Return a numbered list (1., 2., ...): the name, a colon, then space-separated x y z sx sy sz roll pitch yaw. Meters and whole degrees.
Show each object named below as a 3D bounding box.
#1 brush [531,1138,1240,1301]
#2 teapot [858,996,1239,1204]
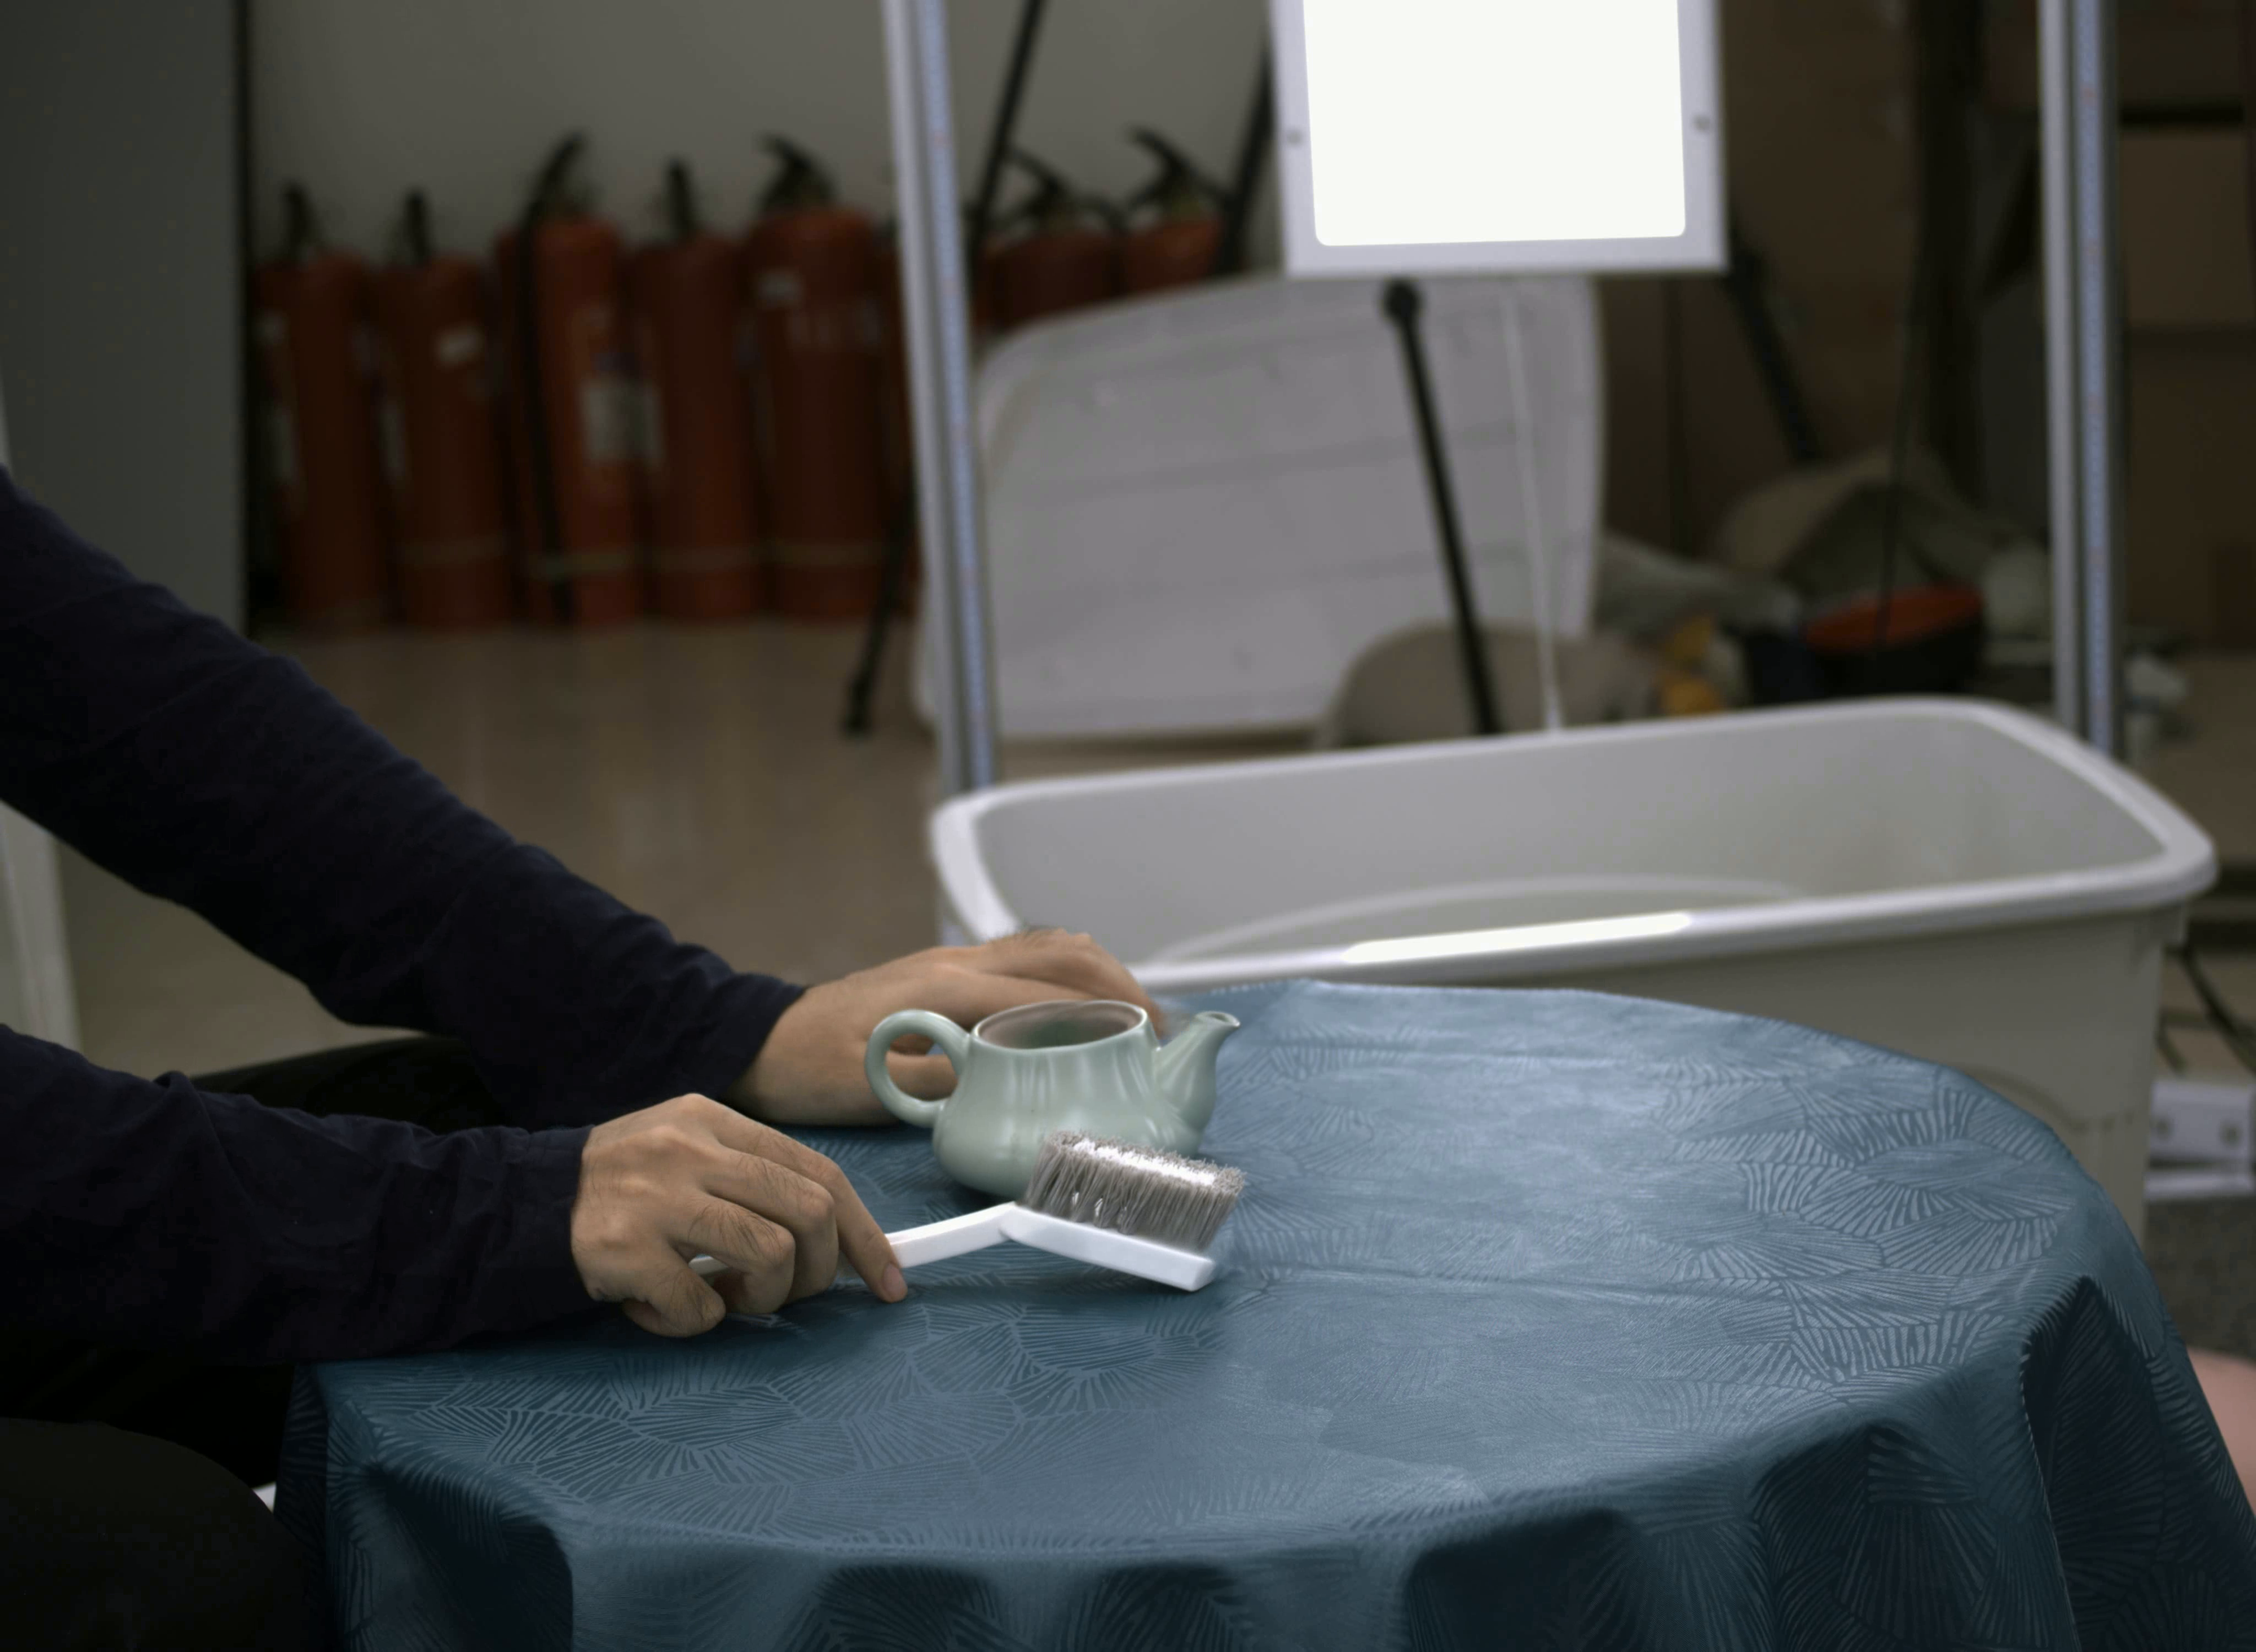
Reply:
1. brush: -0.083 0.129 1.819 0.246 0.050 0.034 -1 18 15
2. teapot: -0.027 0.094 1.915 0.138 0.061 0.095 -1 17 15
